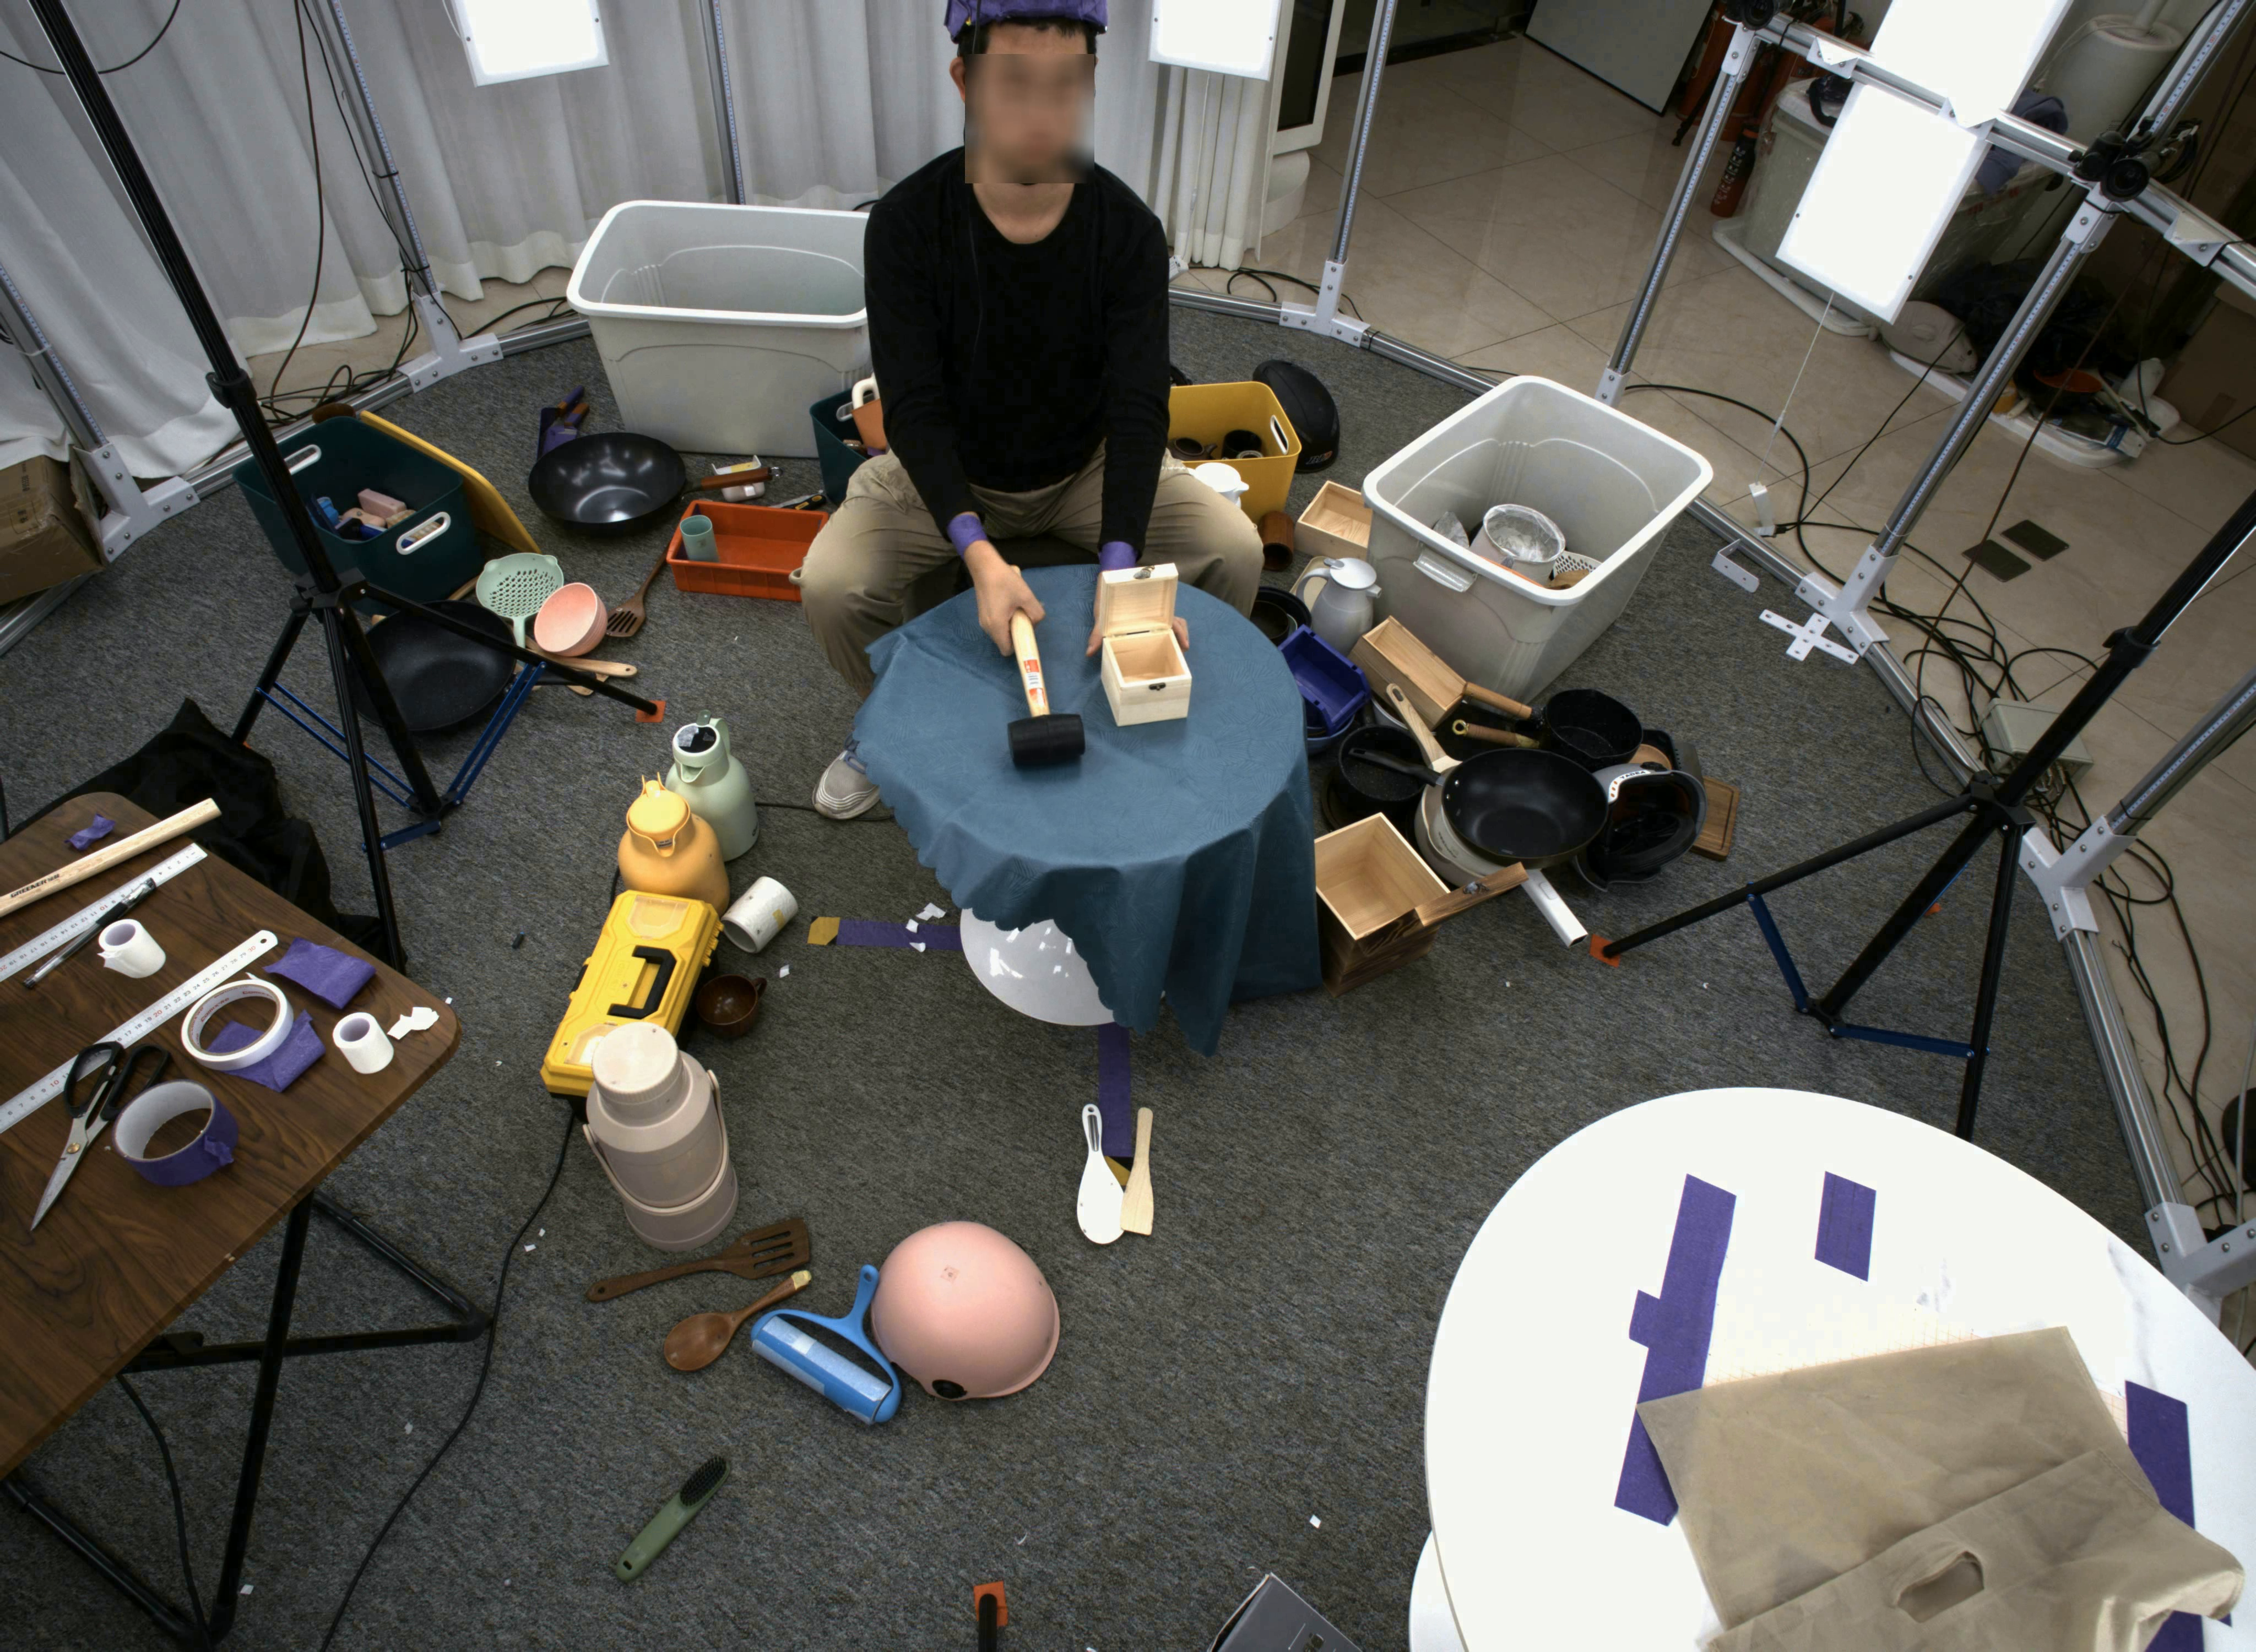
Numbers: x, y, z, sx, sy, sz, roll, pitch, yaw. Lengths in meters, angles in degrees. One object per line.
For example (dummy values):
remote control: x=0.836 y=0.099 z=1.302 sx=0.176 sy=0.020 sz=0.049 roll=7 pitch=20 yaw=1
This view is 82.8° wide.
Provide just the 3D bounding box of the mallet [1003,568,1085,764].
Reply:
mallet: x=-0.137 y=-0.235 z=1.794 sx=0.102 sy=0.063 sz=0.346 roll=-5 pitch=59 yaw=-12

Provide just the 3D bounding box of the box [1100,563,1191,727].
box: x=0.024 y=-0.249 z=1.770 sx=0.102 sy=0.180 sz=0.137 roll=-8 pitch=48 yaw=-12
